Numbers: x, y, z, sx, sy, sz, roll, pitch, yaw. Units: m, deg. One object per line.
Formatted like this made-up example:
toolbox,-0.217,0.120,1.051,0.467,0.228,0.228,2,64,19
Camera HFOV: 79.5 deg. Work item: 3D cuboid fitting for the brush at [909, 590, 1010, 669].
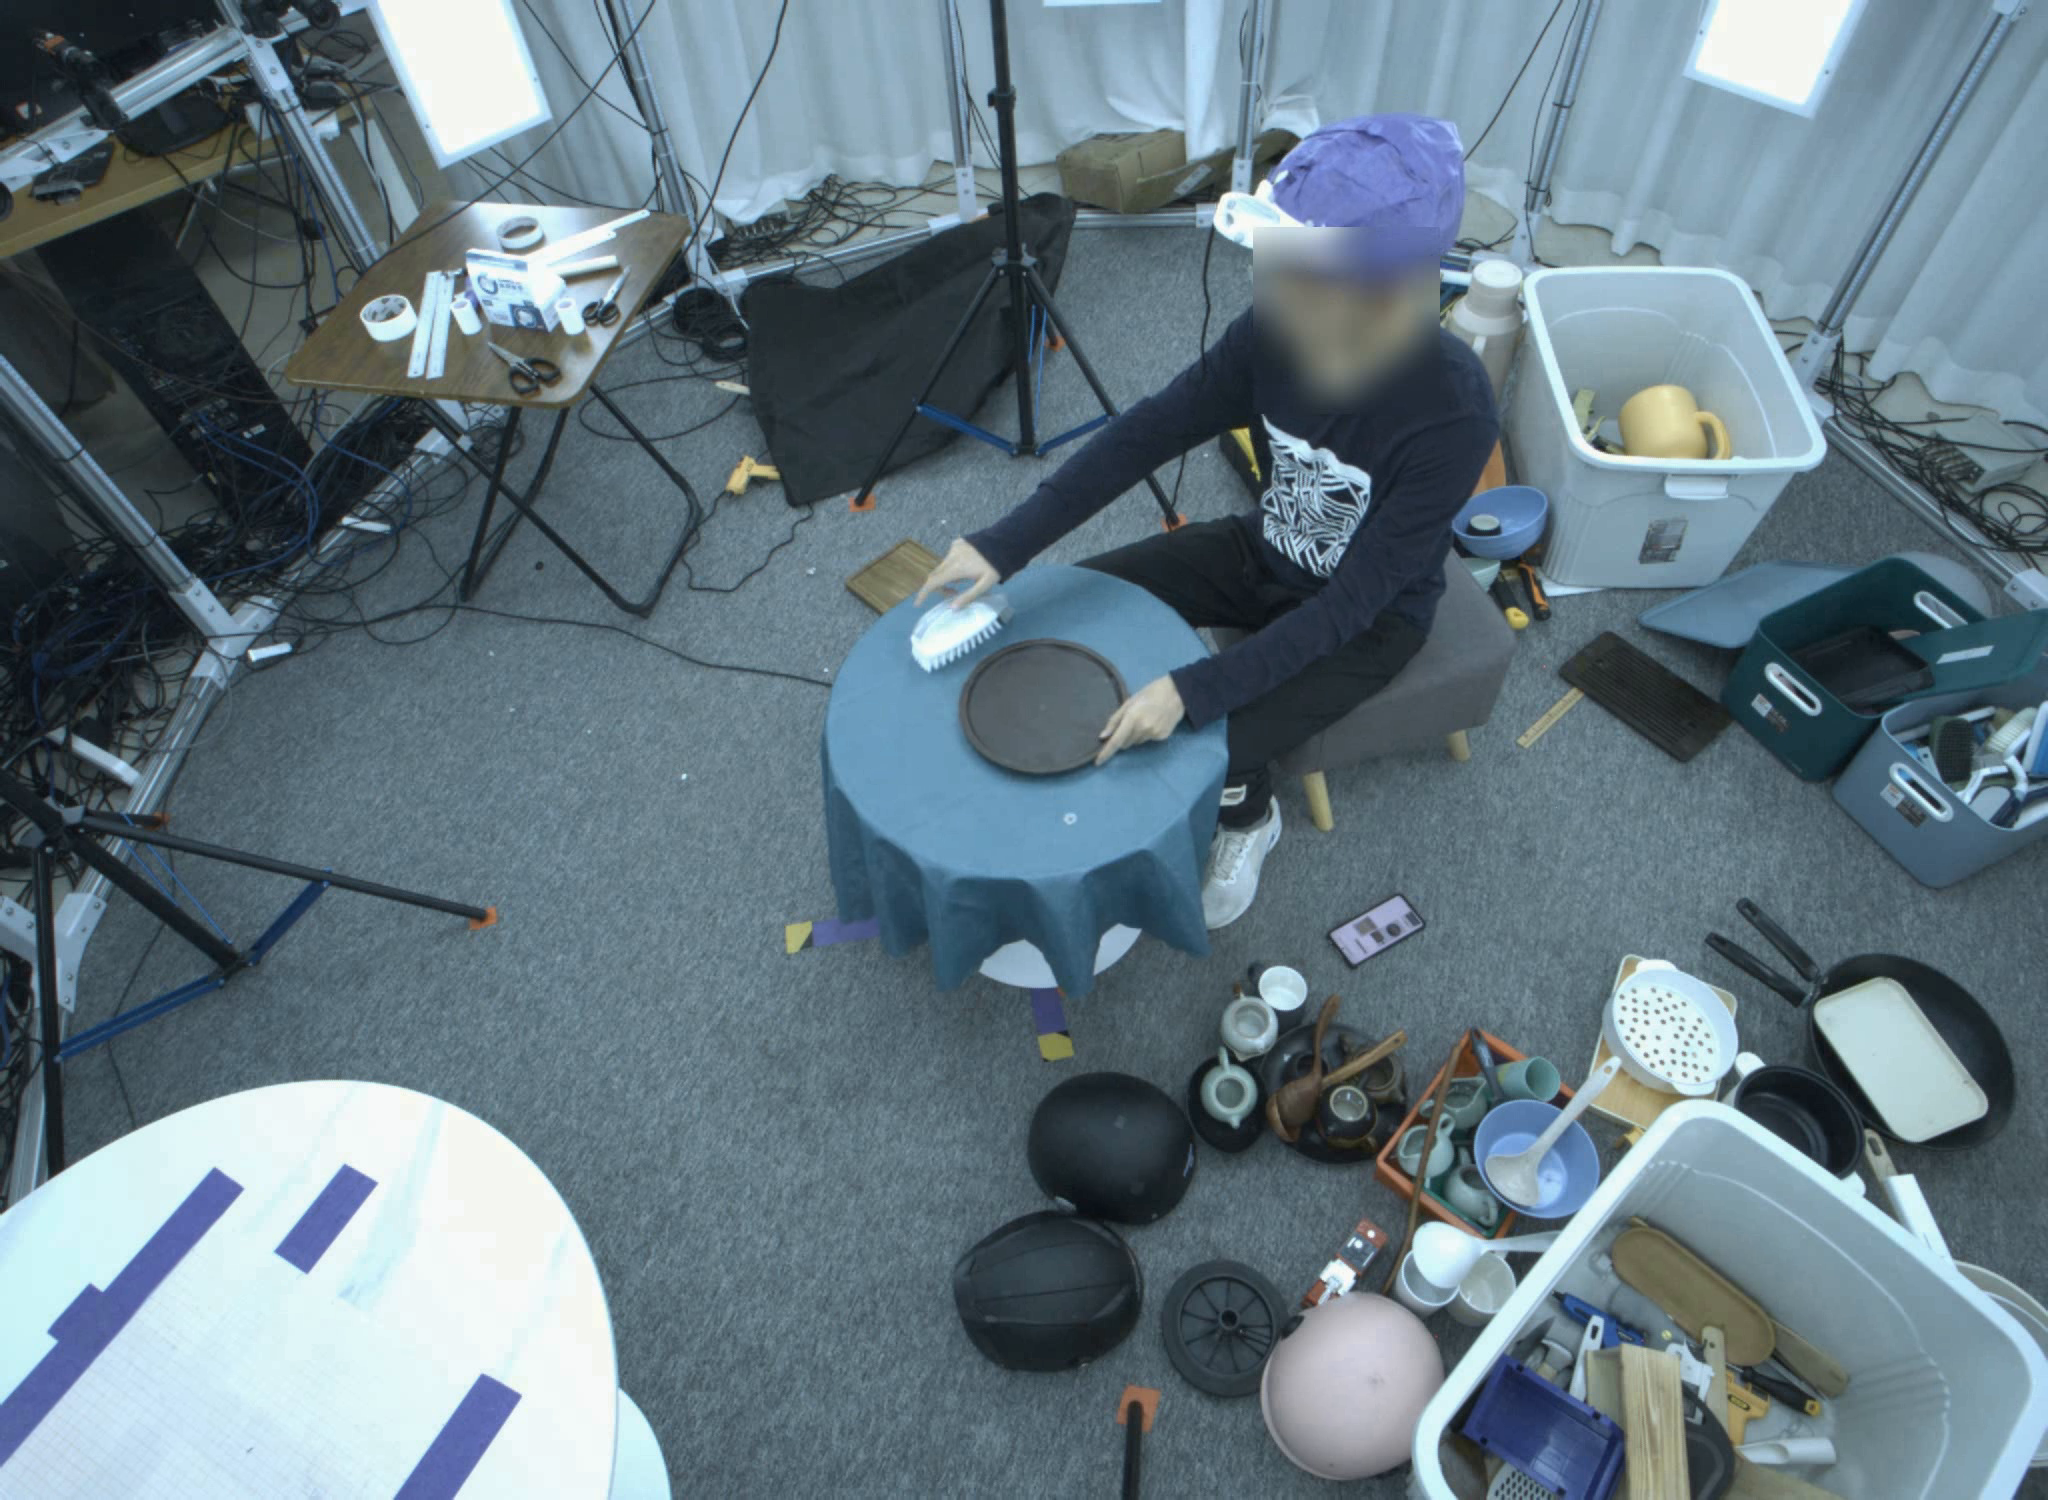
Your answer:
brush,-0.096,-0.202,1.871,0.177,0.095,0.060,-29,58,-19

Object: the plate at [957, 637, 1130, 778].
plate,0.029,-0.064,1.811,0.254,0.029,0.252,-1,55,3
